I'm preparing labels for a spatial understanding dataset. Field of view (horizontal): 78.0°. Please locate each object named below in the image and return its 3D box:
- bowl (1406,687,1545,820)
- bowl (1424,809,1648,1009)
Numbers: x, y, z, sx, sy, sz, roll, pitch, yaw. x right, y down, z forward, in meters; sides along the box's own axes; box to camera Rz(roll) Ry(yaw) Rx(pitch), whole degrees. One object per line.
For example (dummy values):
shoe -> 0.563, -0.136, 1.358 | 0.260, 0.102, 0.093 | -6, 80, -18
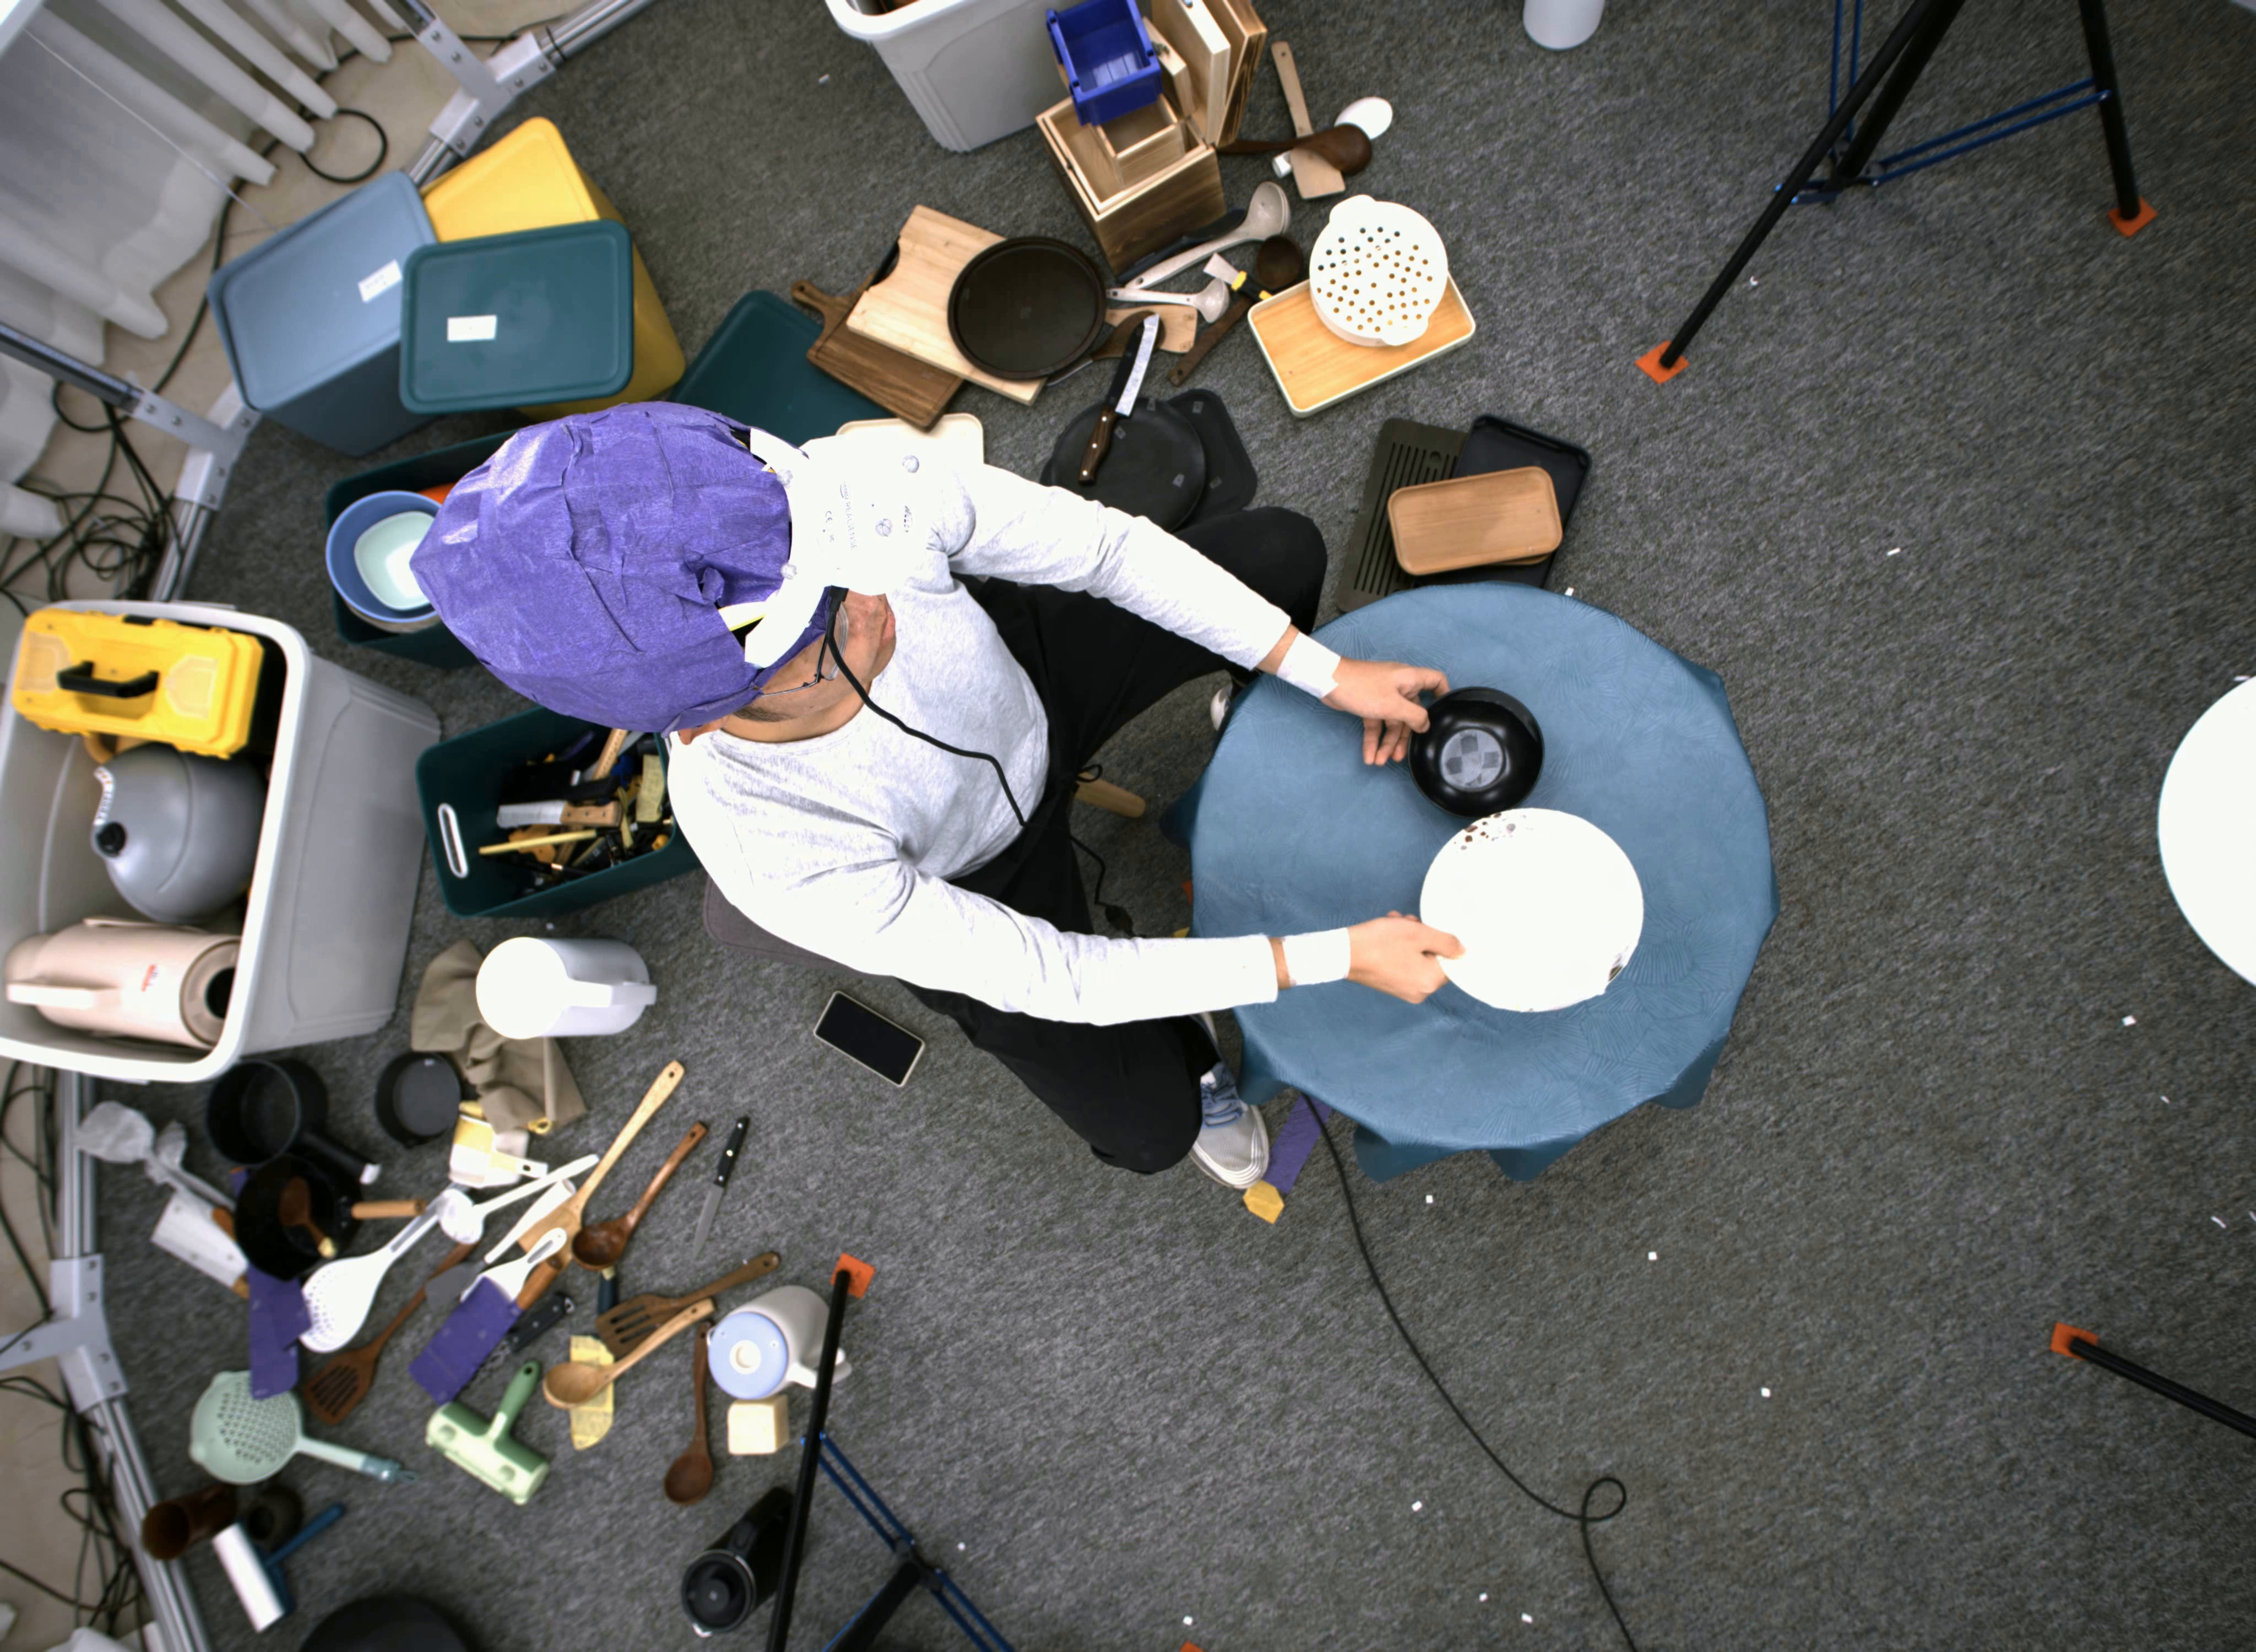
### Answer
bowl -> 0.361, -0.074, 1.428 | 0.141, 0.050, 0.139 | -2, 83, 14
bowl -> 0.390, 0.088, 1.319 | 0.205, 0.079, 0.200 | -8, 64, 15
